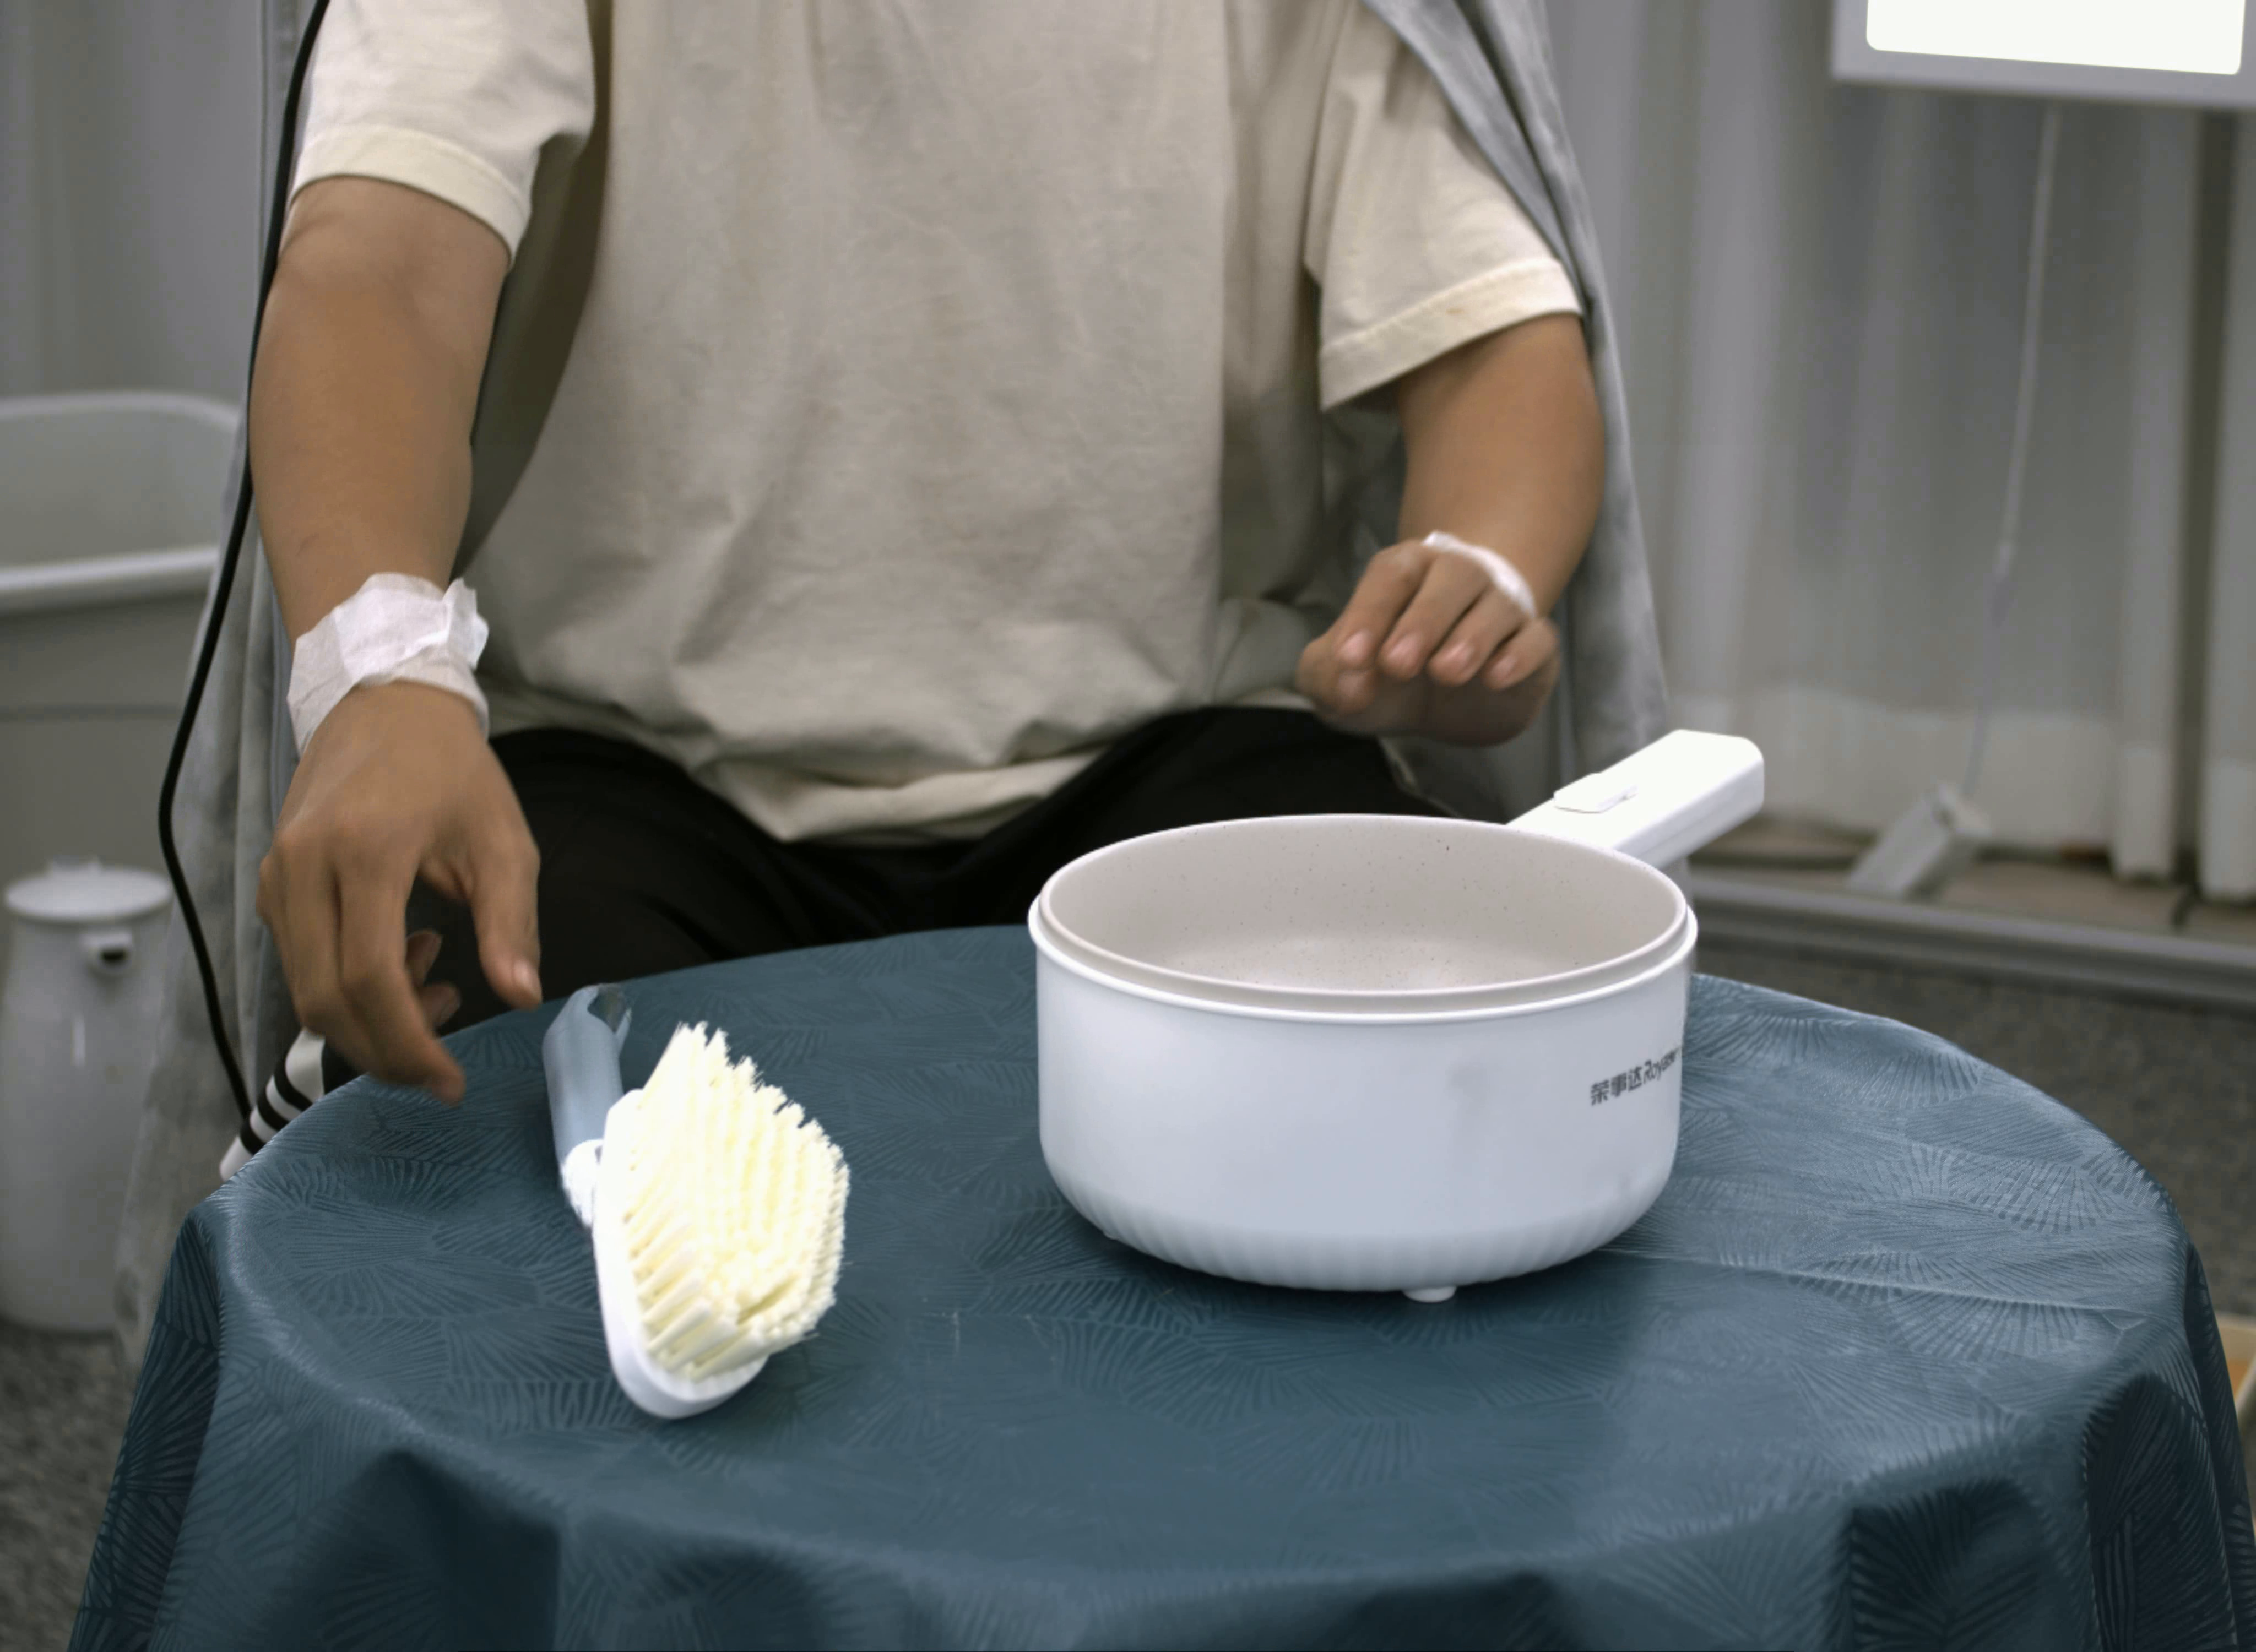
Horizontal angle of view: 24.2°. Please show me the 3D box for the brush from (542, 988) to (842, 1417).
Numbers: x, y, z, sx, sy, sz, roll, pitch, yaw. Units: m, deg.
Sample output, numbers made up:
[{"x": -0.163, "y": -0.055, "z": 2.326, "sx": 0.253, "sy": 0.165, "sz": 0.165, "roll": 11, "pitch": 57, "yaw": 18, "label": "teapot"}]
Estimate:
[{"x": -0.133, "y": 0.082, "z": 1.573, "sx": 0.084, "sy": 0.084, "sz": 0.323, "roll": -8, "pitch": 18, "yaw": -6, "label": "brush"}]

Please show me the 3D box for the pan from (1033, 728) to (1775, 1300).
[{"x": 0.110, "y": 0.052, "z": 1.656, "sx": 0.199, "sy": 0.103, "sz": 0.356, "roll": 10, "pitch": 18, "yaw": 29, "label": "pan"}]
